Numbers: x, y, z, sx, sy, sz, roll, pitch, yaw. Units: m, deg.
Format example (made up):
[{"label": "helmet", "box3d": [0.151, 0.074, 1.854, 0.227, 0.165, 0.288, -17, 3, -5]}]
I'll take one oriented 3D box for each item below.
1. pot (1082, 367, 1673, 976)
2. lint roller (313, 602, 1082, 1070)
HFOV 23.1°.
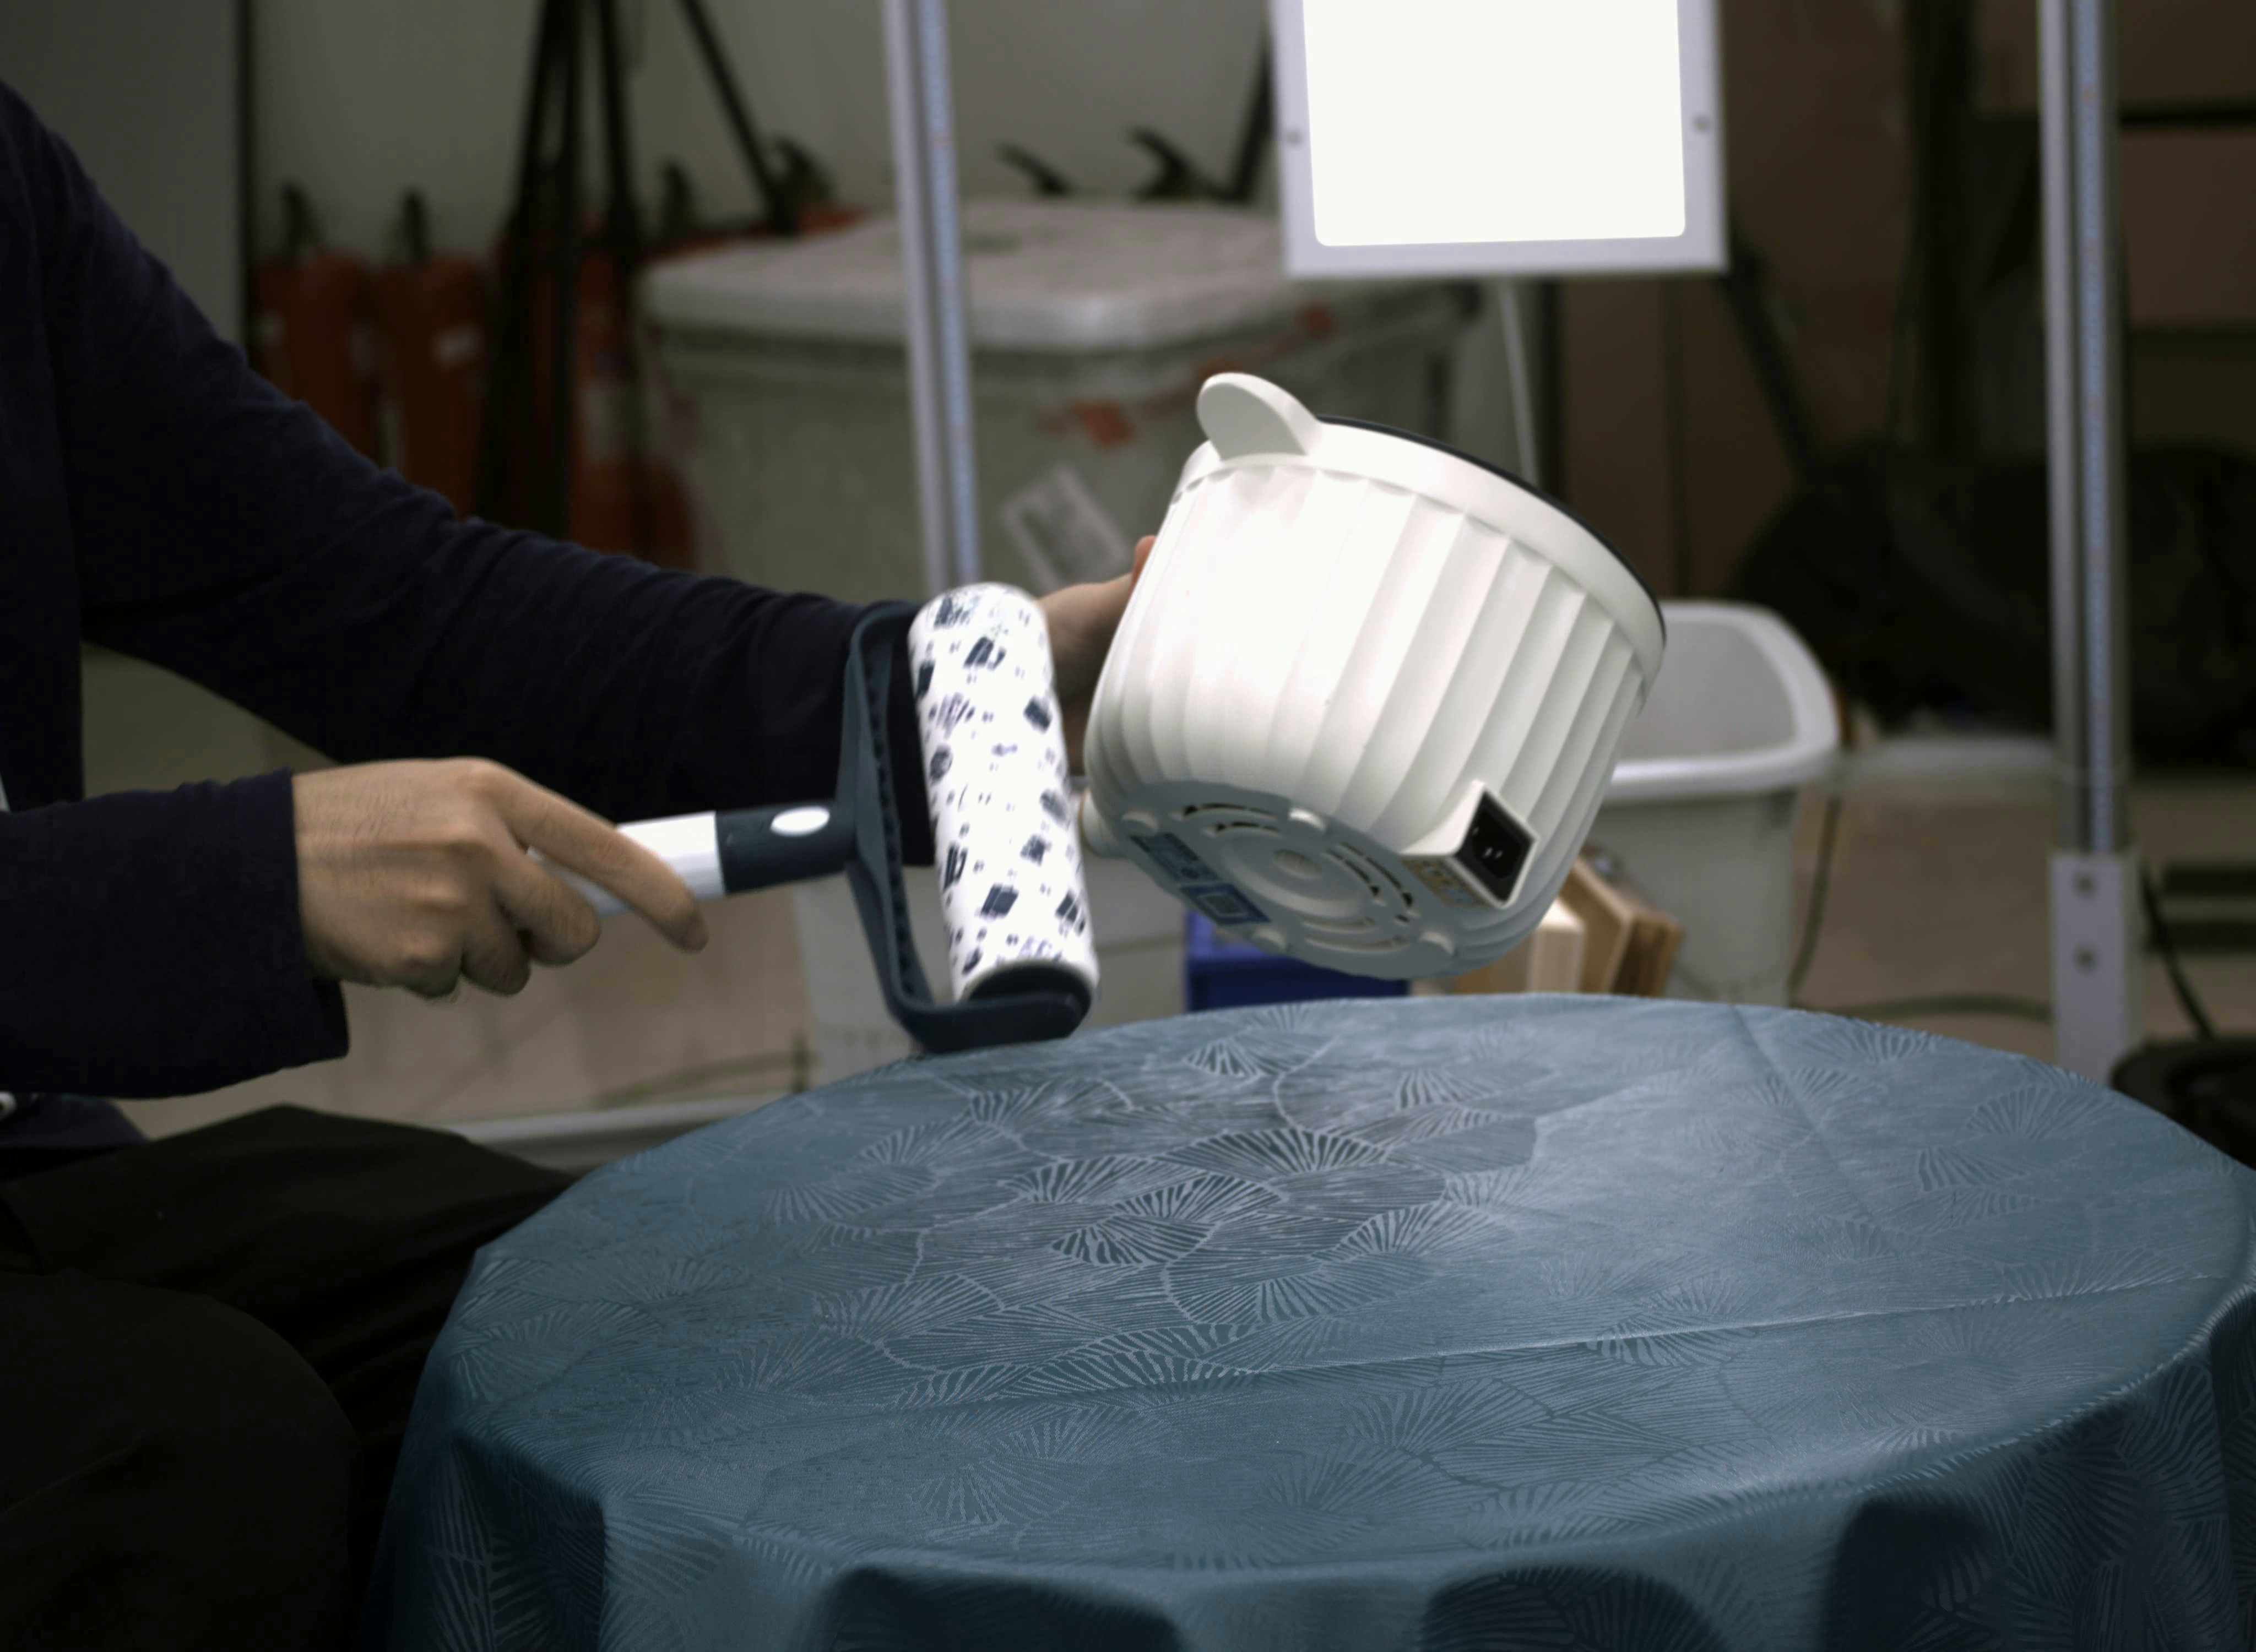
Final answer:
[{"label": "pot", "box3d": [0.077, -0.039, 1.908, 0.195, 0.237, 0.141, 4, 59, 46]}, {"label": "lint roller", "box3d": [-0.145, 0.016, 1.799, 0.246, 0.050, 0.176, -9, 51, 0]}]
